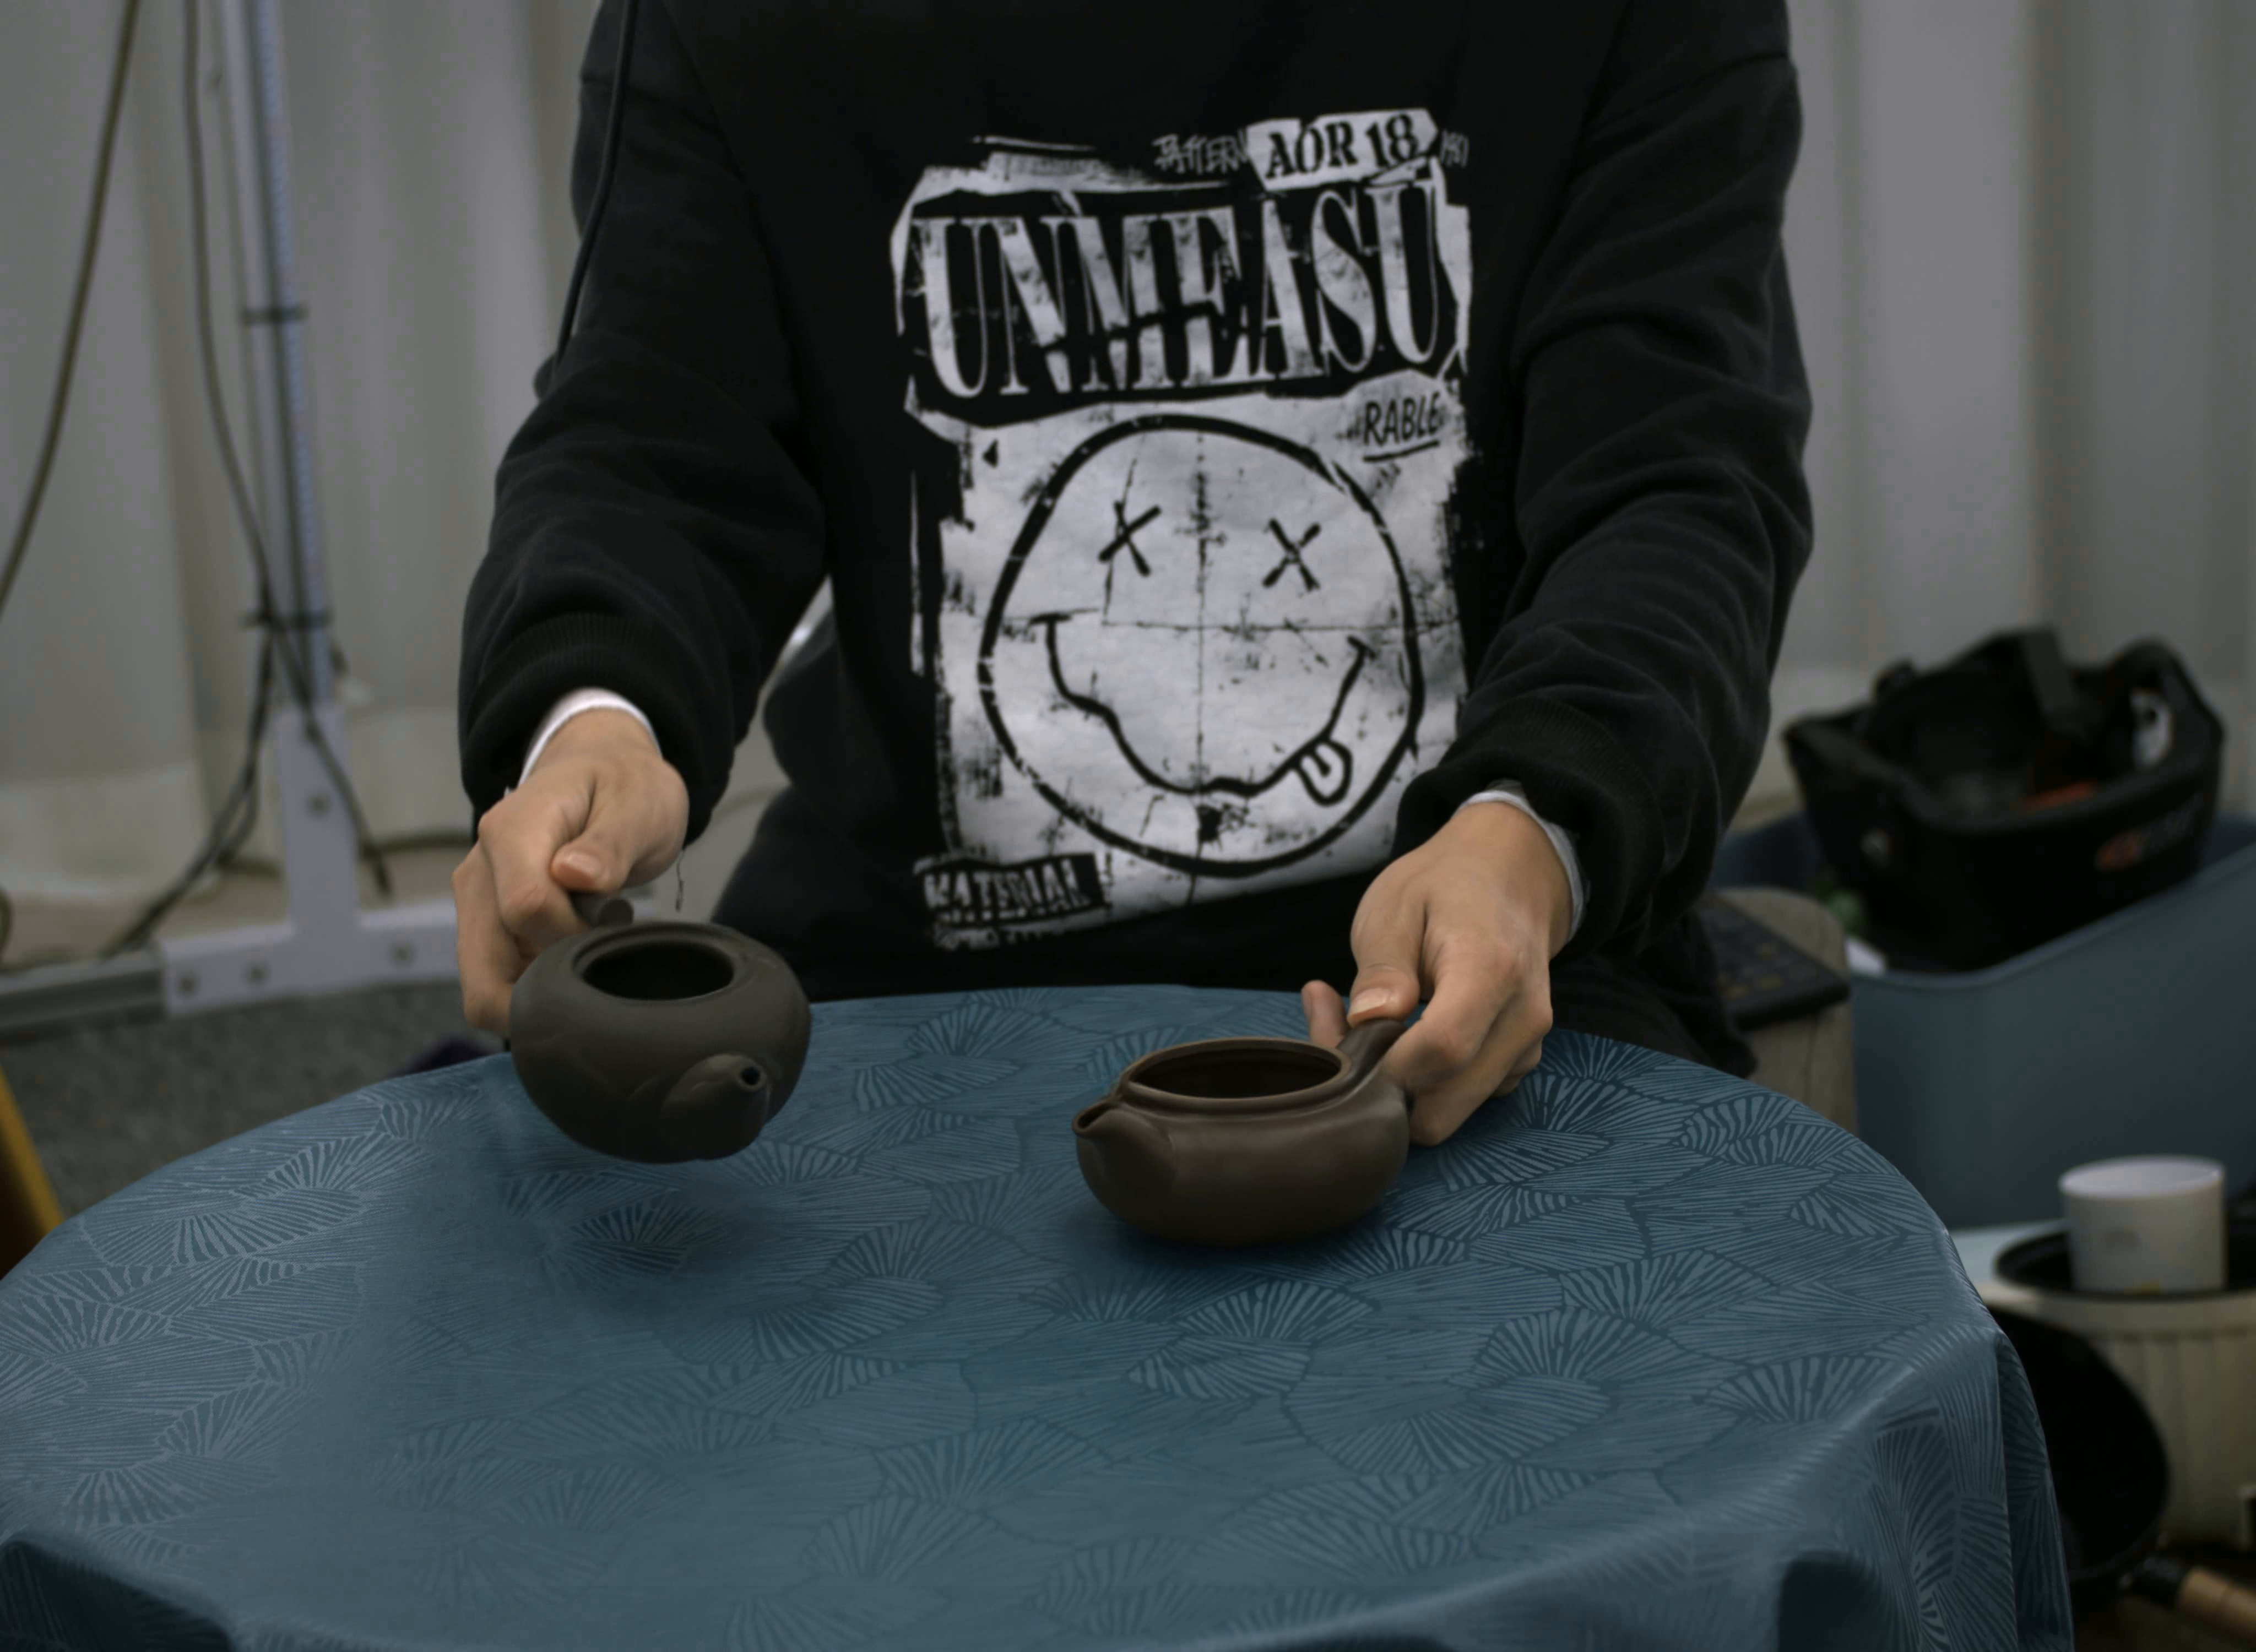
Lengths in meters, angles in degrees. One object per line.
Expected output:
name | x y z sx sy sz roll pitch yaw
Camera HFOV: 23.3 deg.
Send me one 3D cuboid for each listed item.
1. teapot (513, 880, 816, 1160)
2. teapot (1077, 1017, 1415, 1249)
teapot | -0.144 0.063 1.685 0.092 0.064 0.156 -7 26 -25
teapot | 0.038 0.094 1.679 0.103 0.053 0.153 11 19 36
